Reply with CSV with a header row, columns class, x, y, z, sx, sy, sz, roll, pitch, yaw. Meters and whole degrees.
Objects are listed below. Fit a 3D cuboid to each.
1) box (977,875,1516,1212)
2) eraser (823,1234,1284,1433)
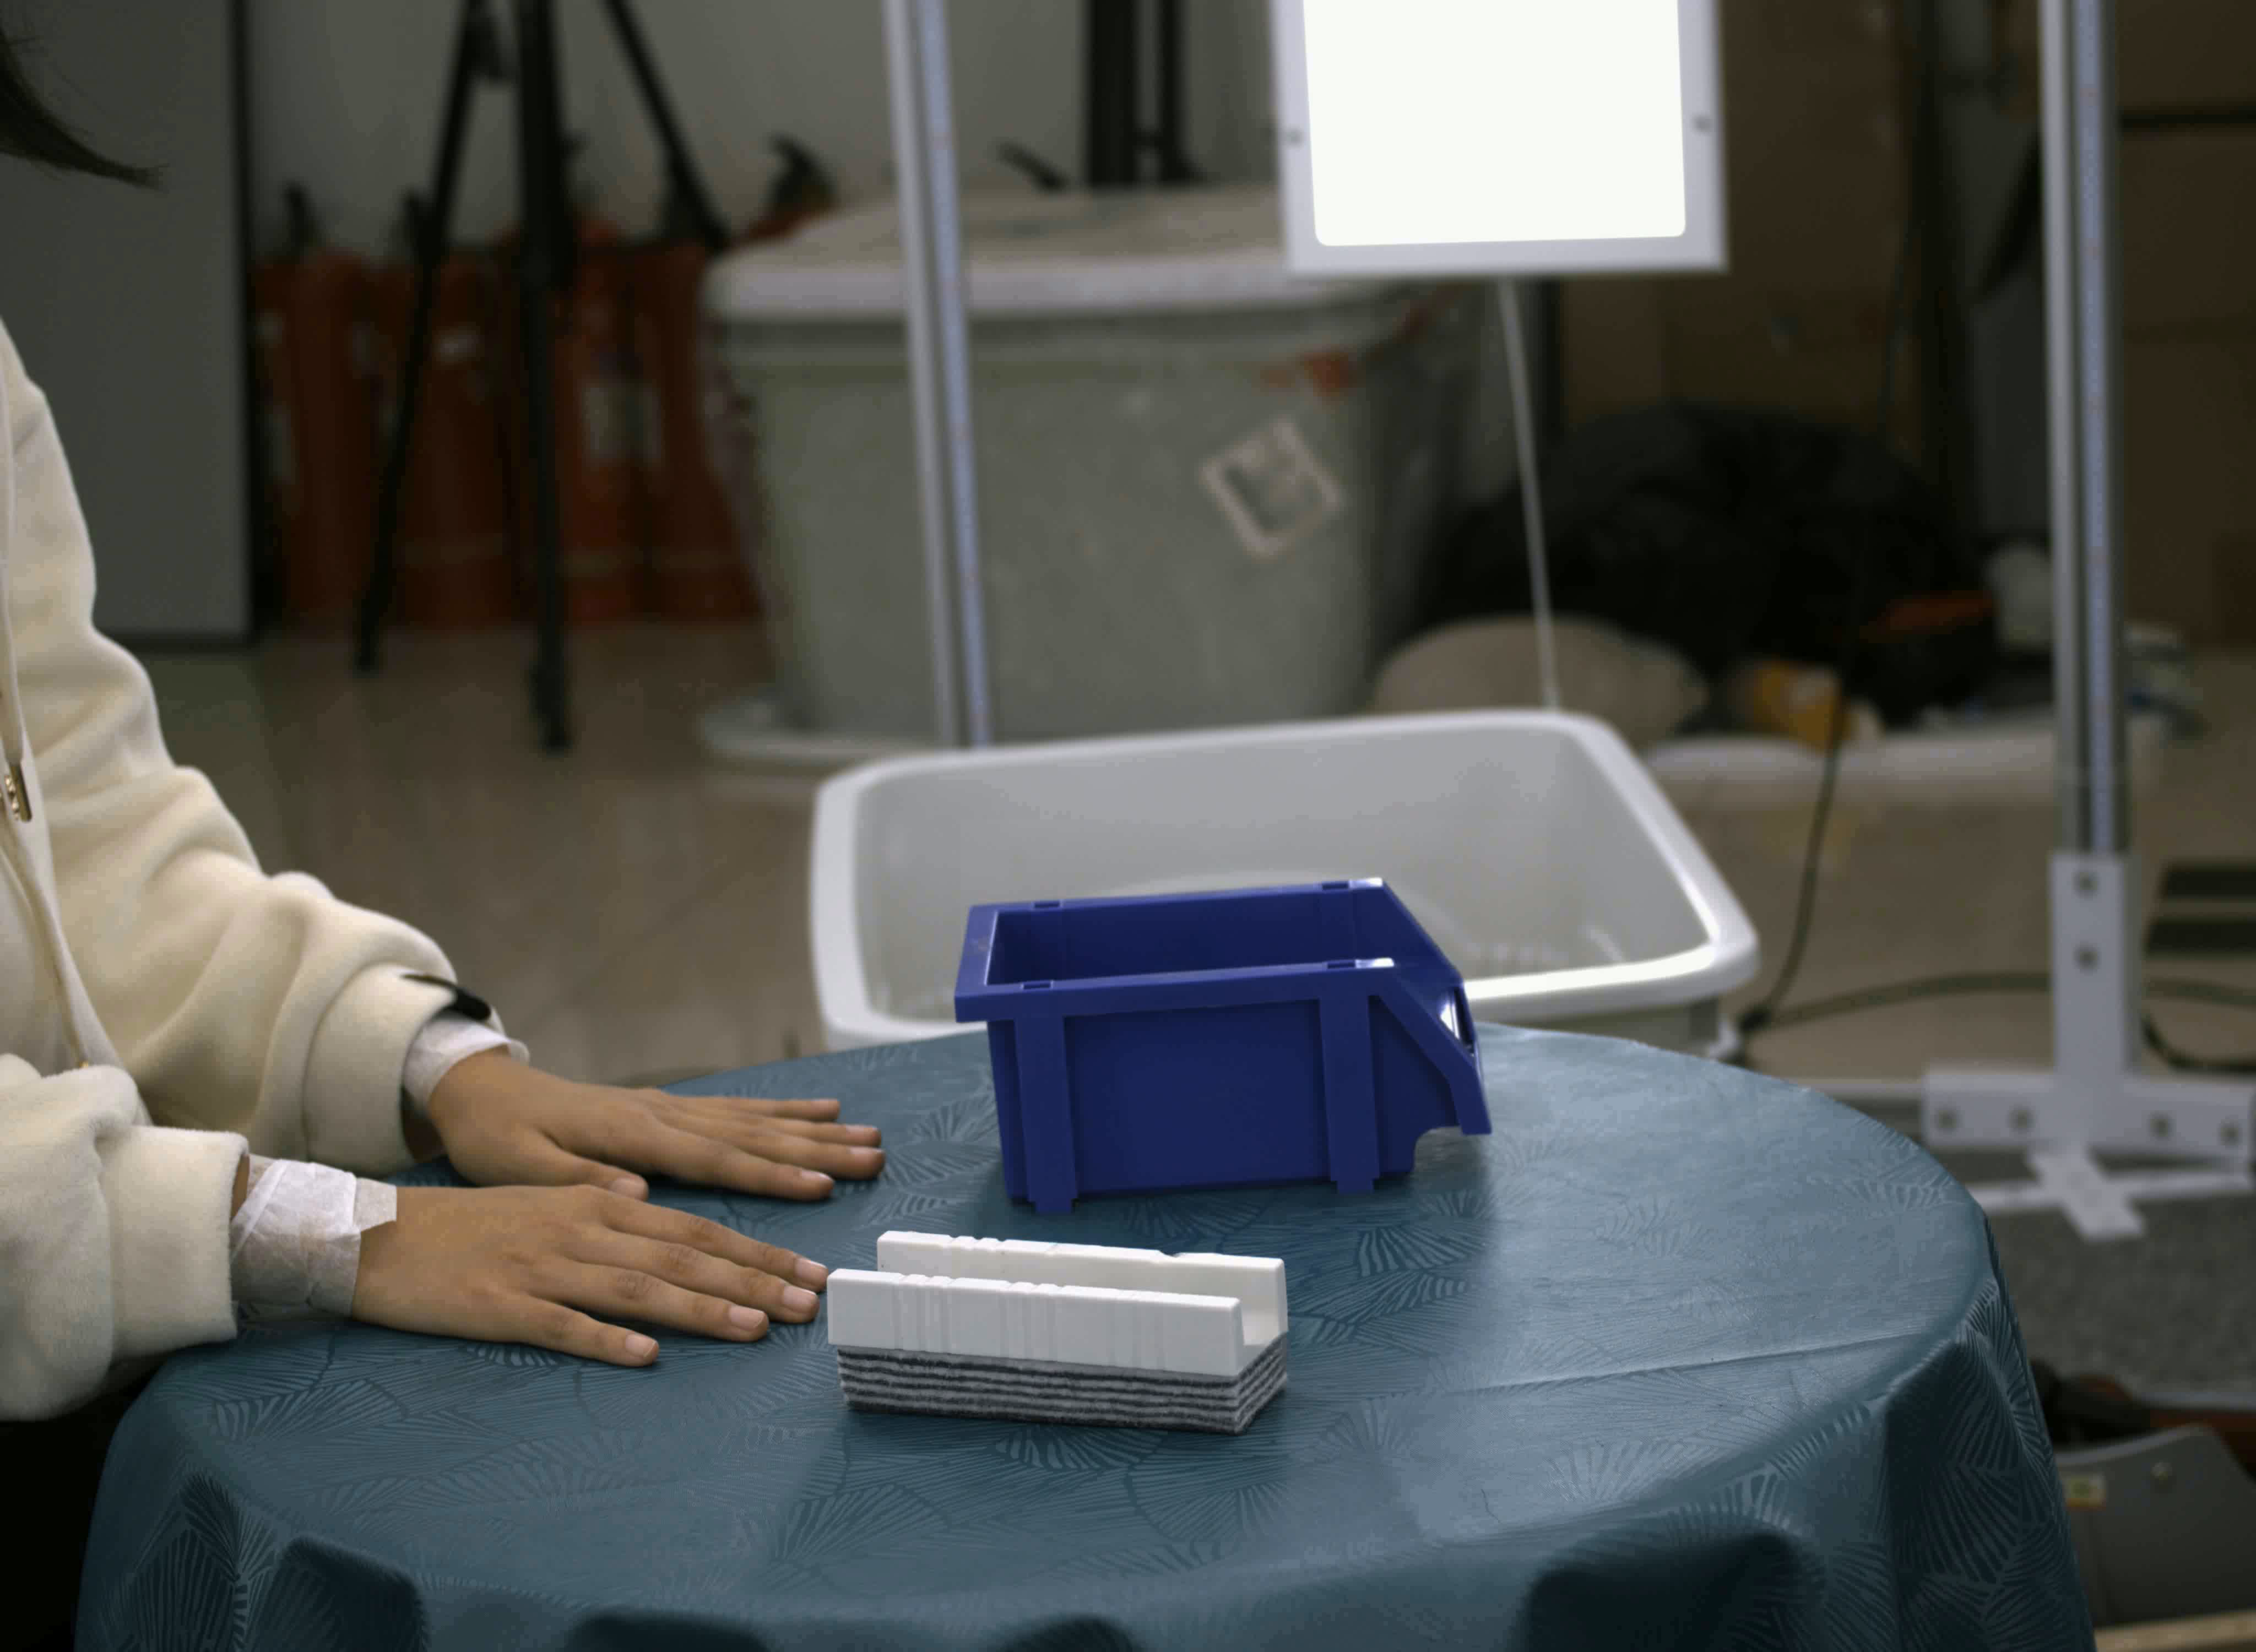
class,x,y,z,sx,sy,sz,roll,pitch,yaw
box,0.044,0.074,1.926,0.180,0.082,0.124,-6,14,6
eraser,-0.022,0.155,1.691,0.136,0.047,0.049,2,17,21
